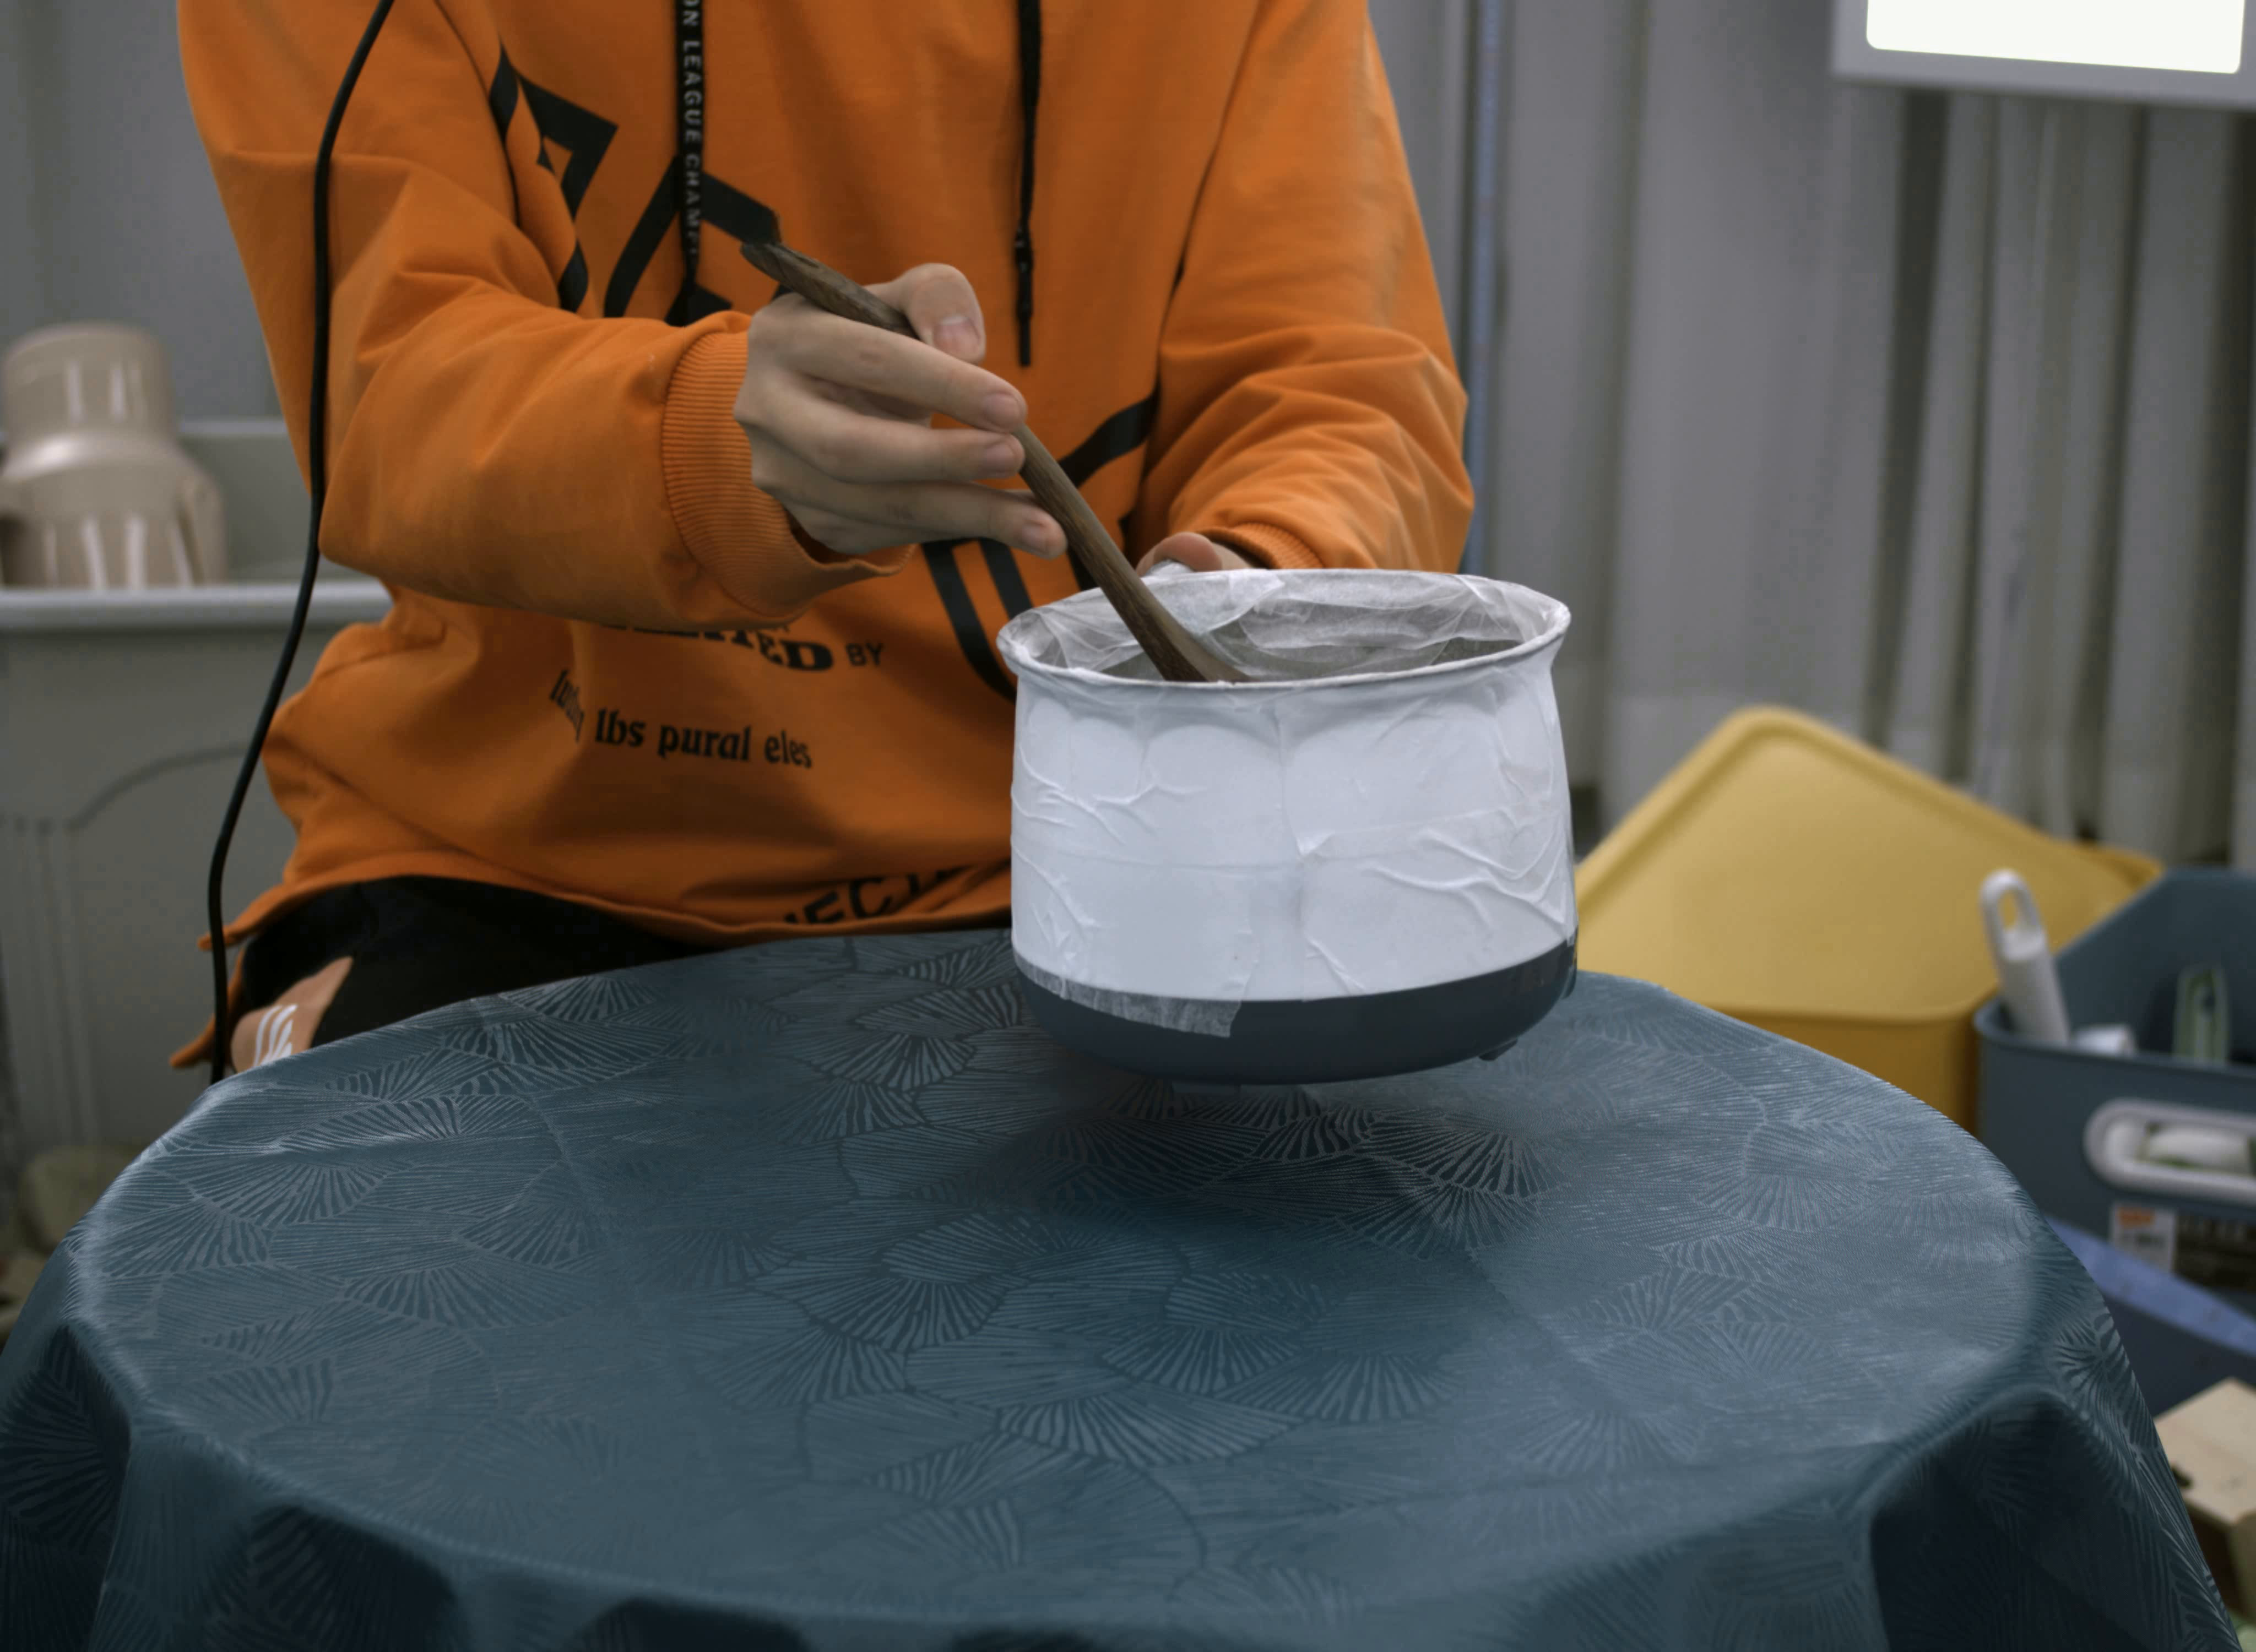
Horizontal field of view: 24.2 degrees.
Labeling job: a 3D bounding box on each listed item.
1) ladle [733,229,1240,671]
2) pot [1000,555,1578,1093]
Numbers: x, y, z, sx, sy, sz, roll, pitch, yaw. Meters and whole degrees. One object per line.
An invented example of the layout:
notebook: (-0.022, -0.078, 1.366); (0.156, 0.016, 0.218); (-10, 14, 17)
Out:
ladle: (-0.006, -0.110, 1.622); (0.273, 0.071, 0.076); (46, 10, 7)
pot: (0.040, -0.007, 1.655); (0.179, 0.137, 0.231); (-7, 14, -21)
